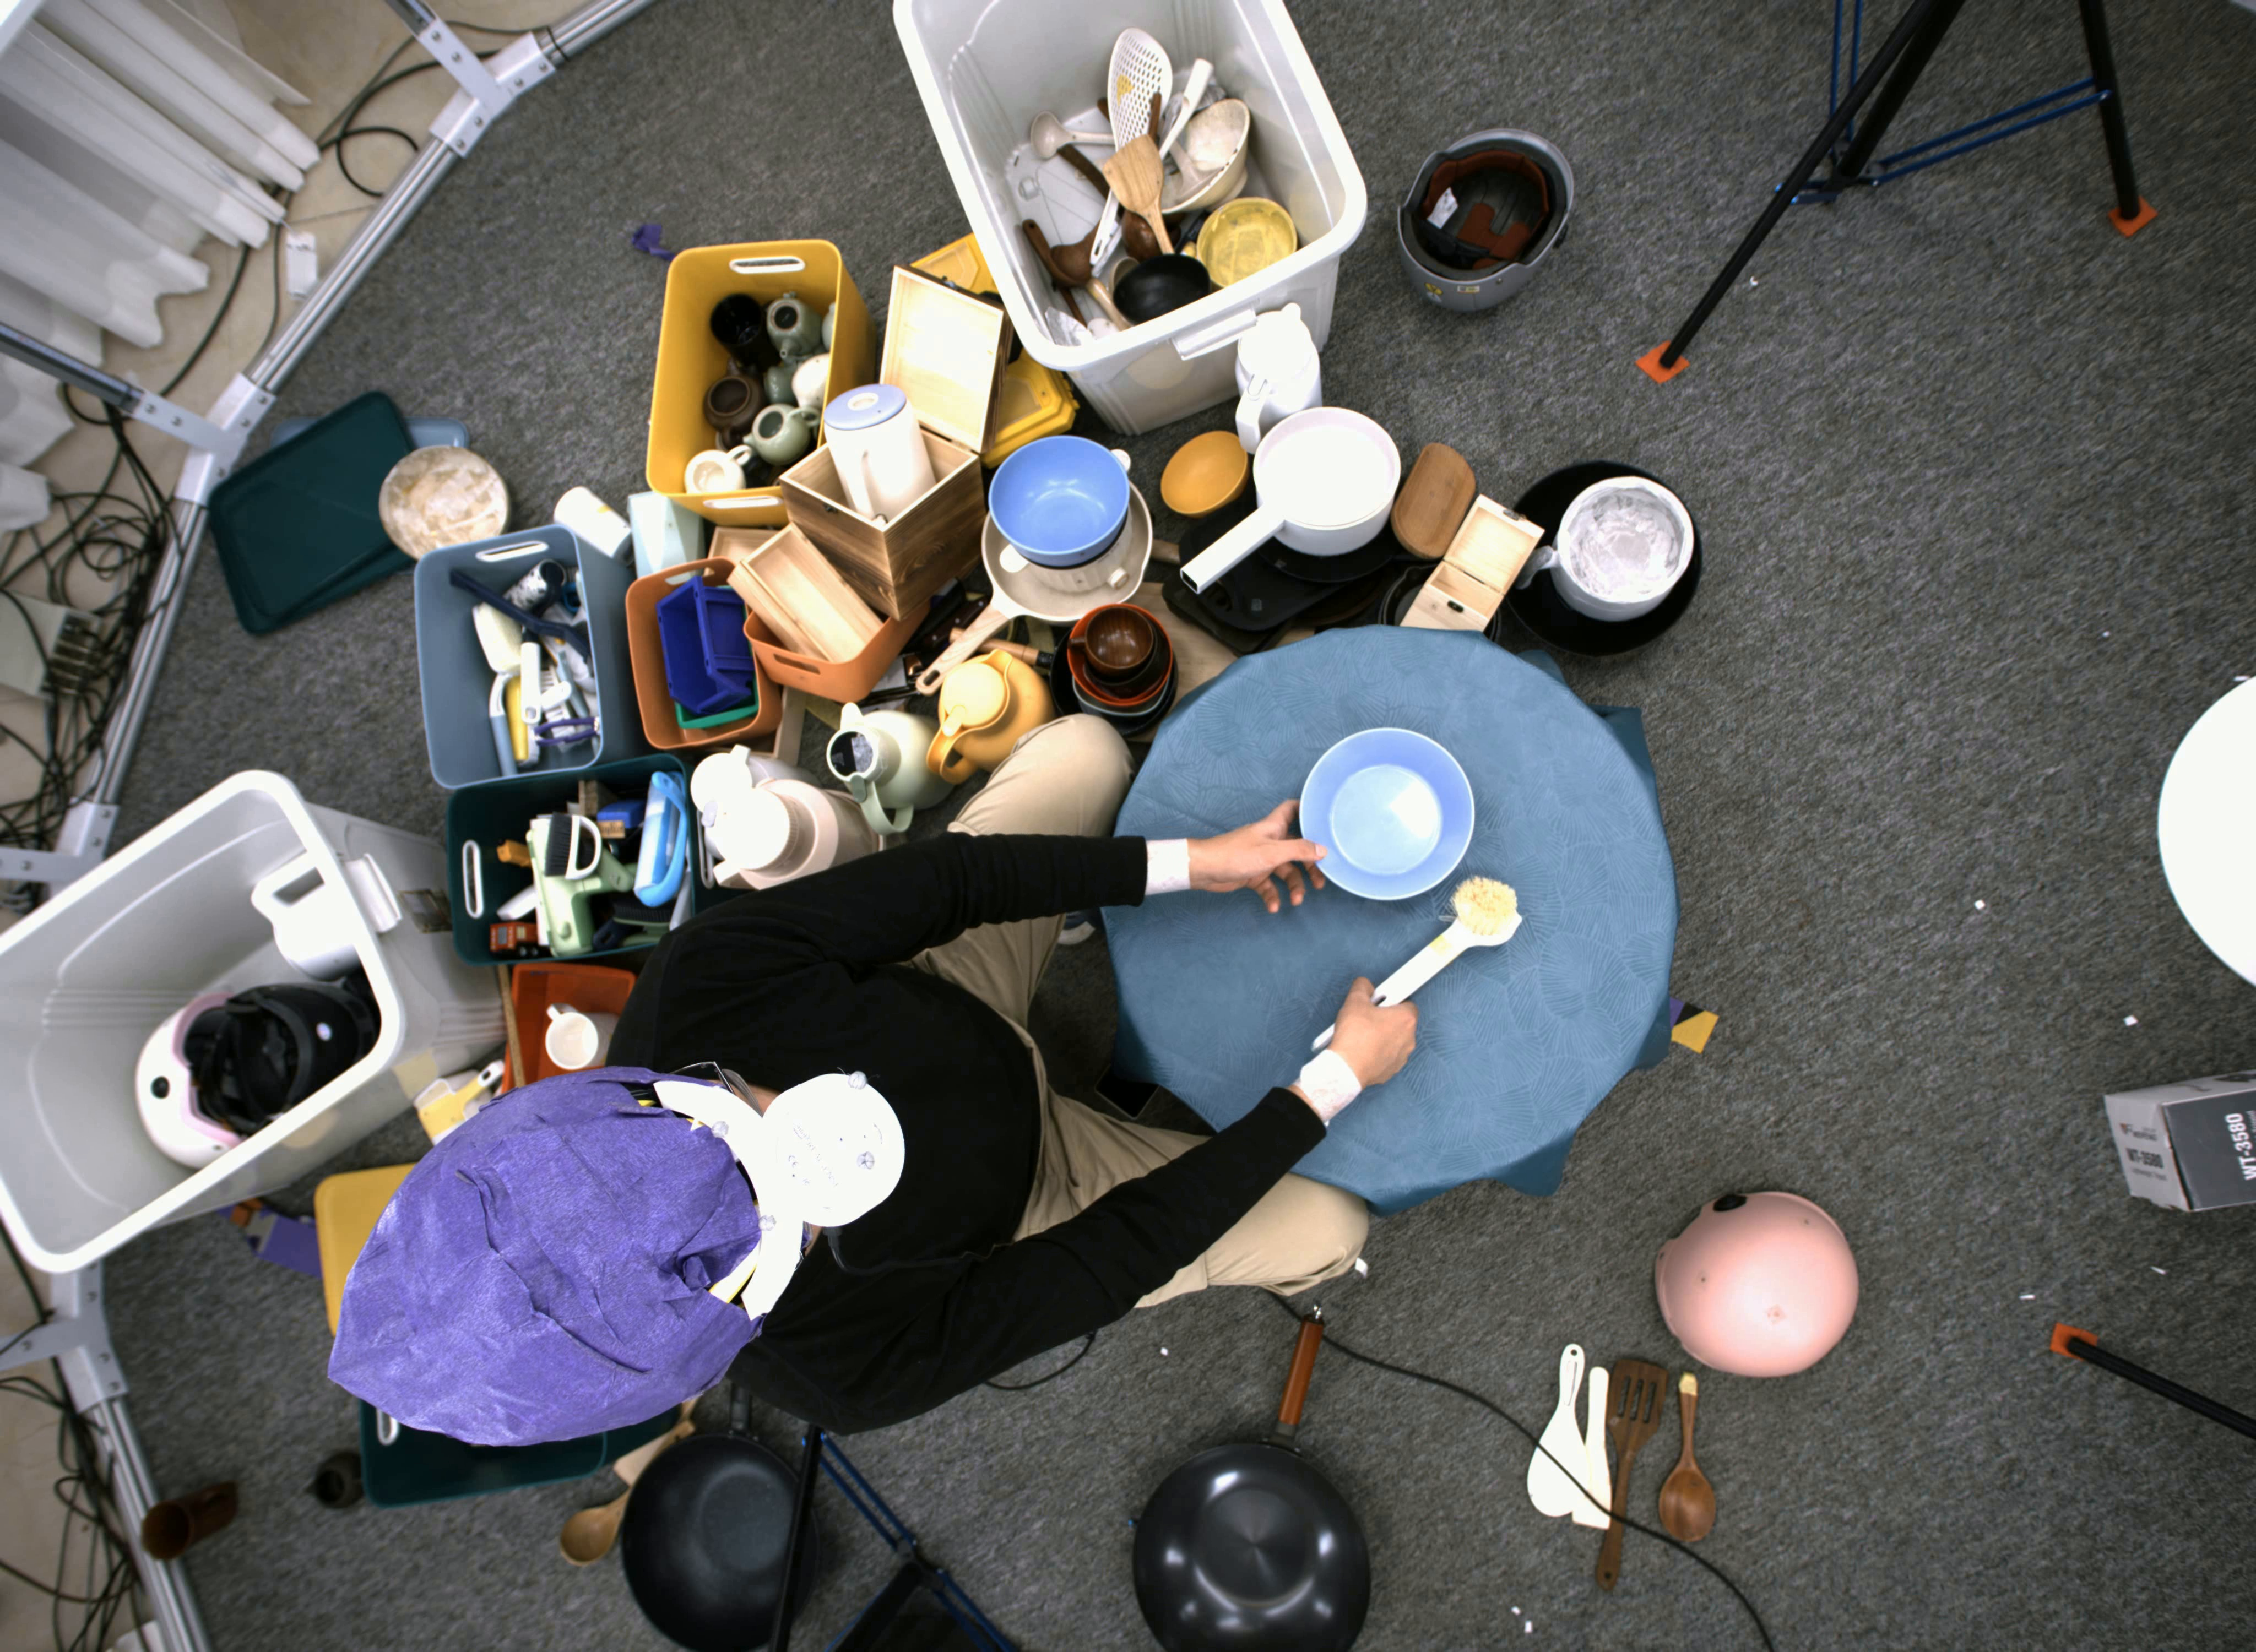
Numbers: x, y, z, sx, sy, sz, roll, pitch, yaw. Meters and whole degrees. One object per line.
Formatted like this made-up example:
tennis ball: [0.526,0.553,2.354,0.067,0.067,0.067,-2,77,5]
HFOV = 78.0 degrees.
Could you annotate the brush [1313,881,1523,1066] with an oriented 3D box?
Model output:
brush: [0.289,0.149,1.409,0.267,0.057,0.067,-37,39,4]

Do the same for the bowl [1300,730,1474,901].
bowl: [0.268,-0.009,1.428,0.177,0.070,0.175,-1,86,11]
